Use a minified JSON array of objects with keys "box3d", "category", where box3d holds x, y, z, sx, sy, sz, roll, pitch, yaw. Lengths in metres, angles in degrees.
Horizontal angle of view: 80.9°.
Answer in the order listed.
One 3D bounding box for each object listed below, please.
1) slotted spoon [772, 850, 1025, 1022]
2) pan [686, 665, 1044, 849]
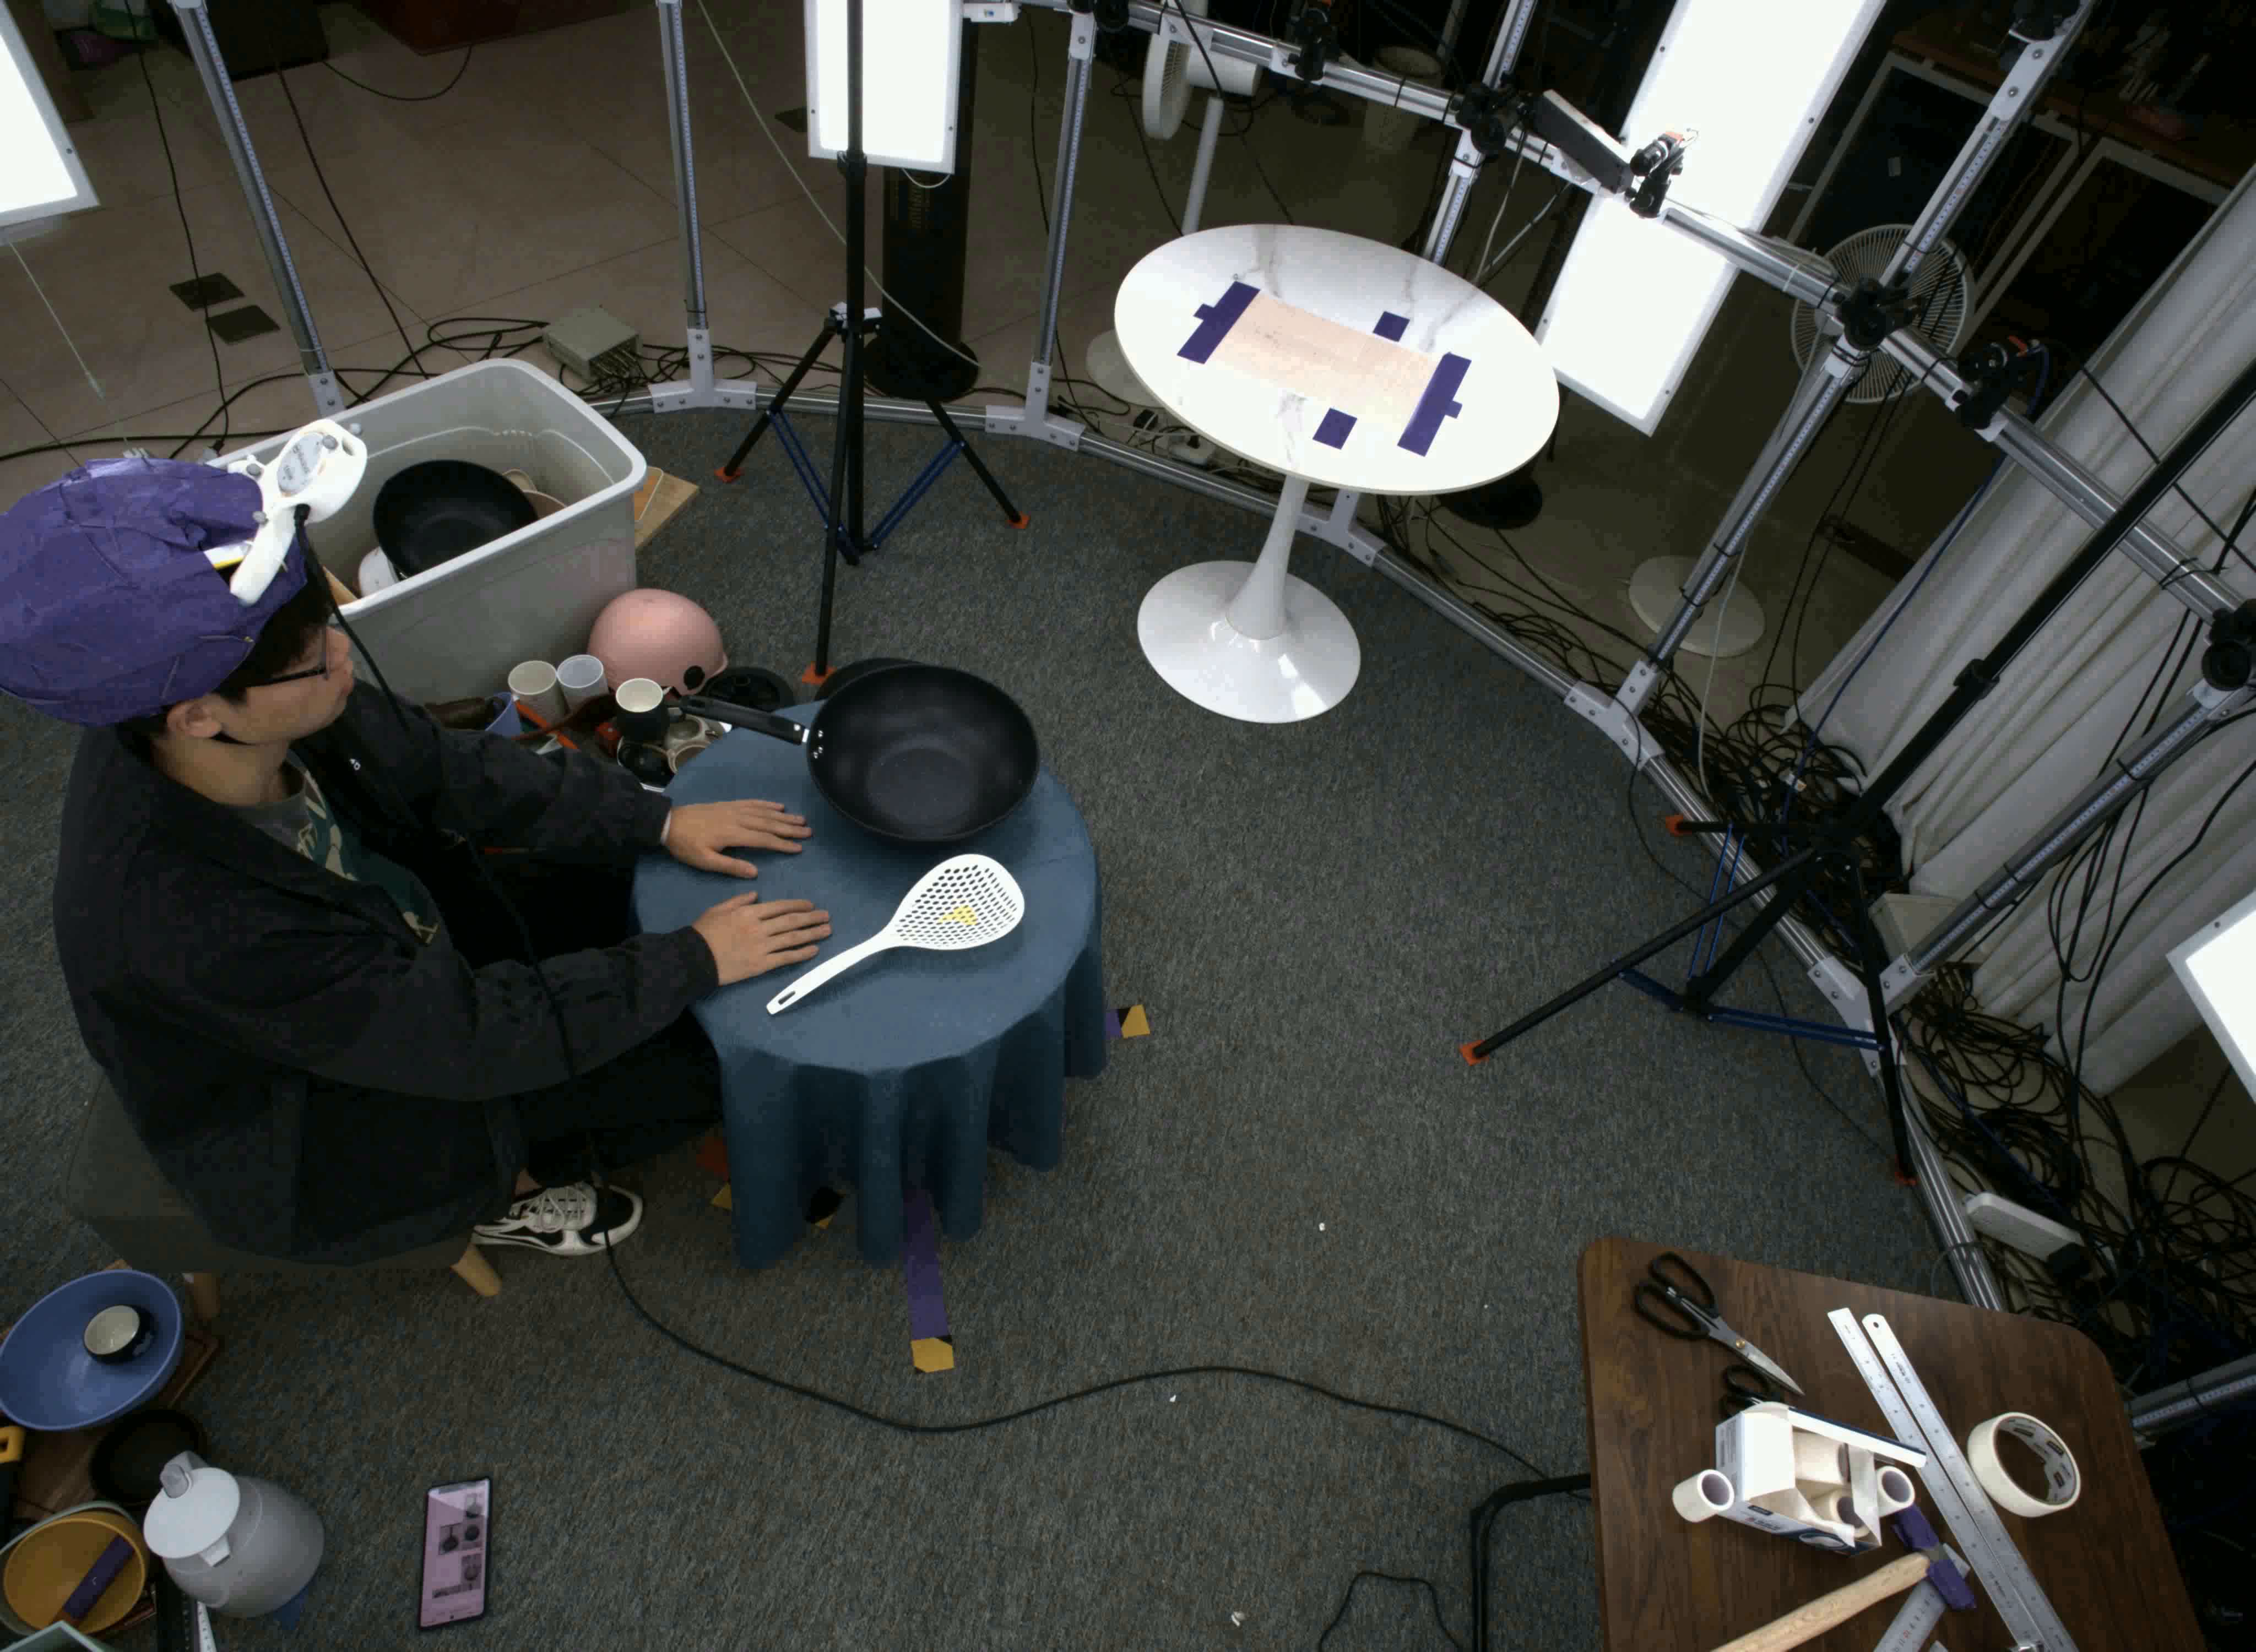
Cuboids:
[{"box3d":[-0.290,0.143,1.626,0.349,0.051,0.134,-26,65,-28],"category":"slotted spoon"},{"box3d":[-0.351,-0.098,1.748,0.476,0.114,0.304,8,51,-9],"category":"pan"}]
